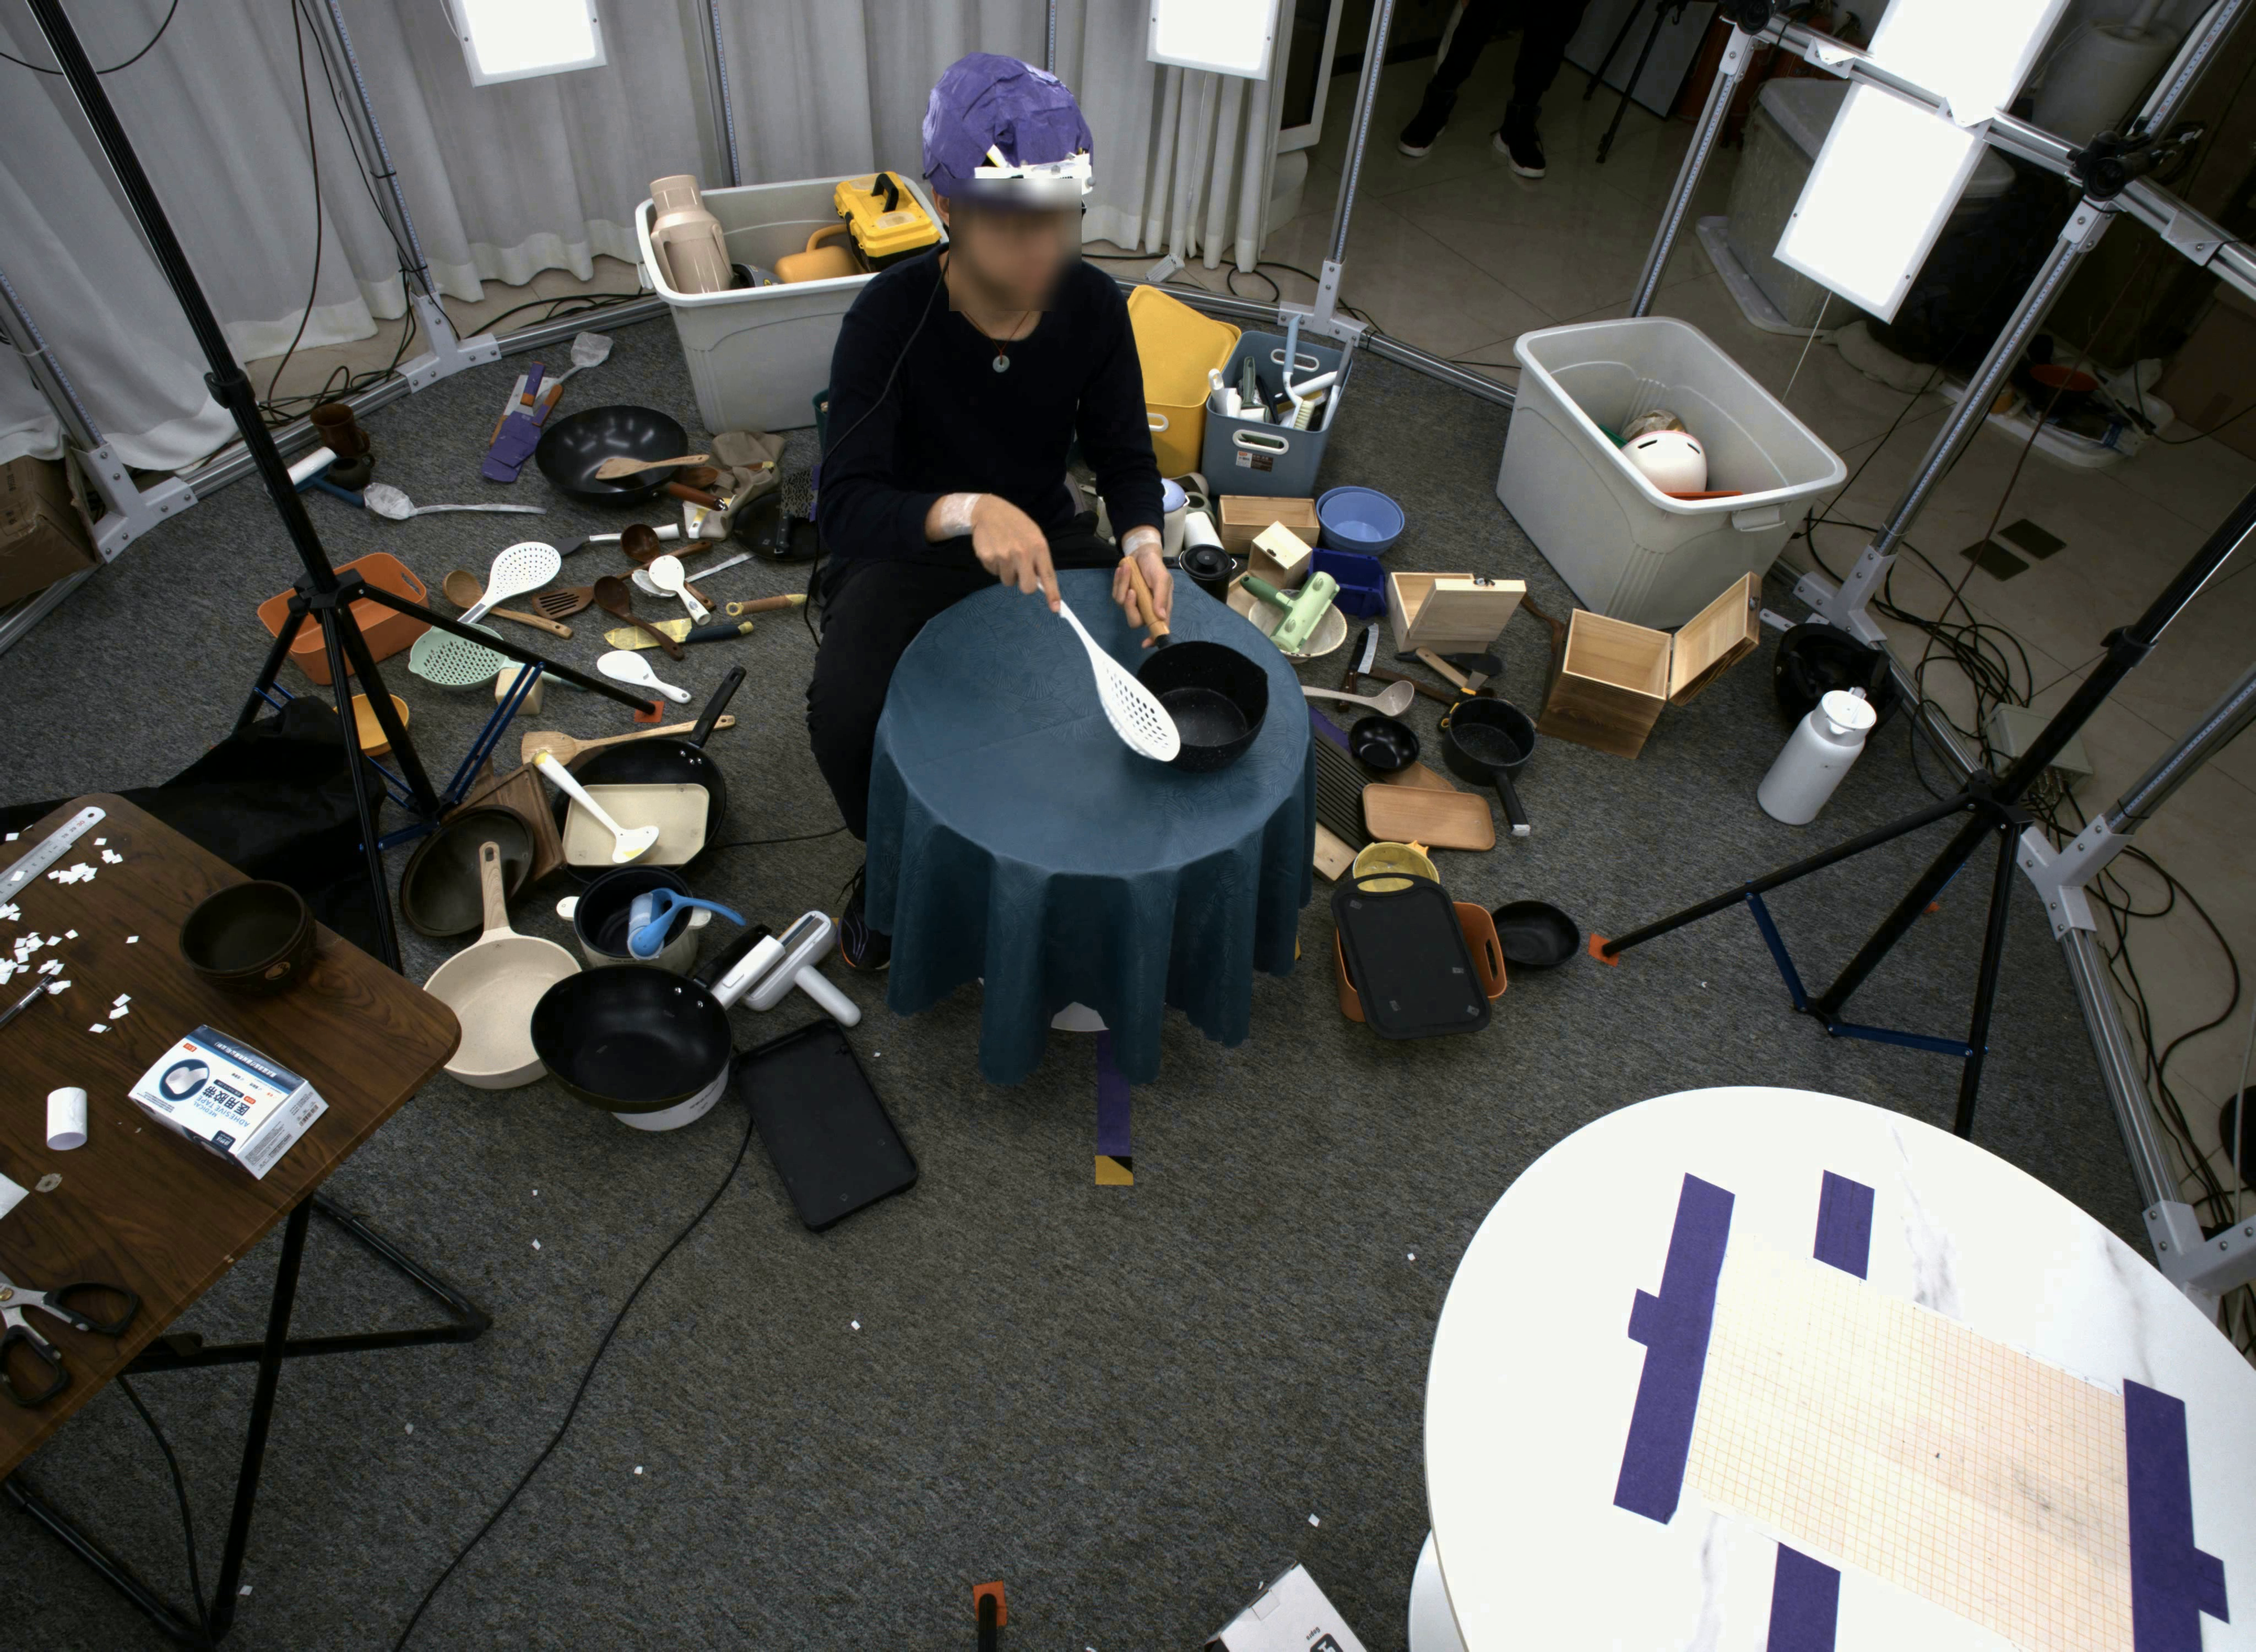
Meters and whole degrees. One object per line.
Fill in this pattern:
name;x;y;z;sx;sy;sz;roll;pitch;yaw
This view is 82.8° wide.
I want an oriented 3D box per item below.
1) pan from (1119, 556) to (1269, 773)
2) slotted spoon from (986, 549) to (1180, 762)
pan;0.061;-0.224;1.781;0.208;0.106;0.350;-20;59;-16
slotted spoon;-0.057;-0.218;1.620;0.347;0.050;0.138;55;26;-4
